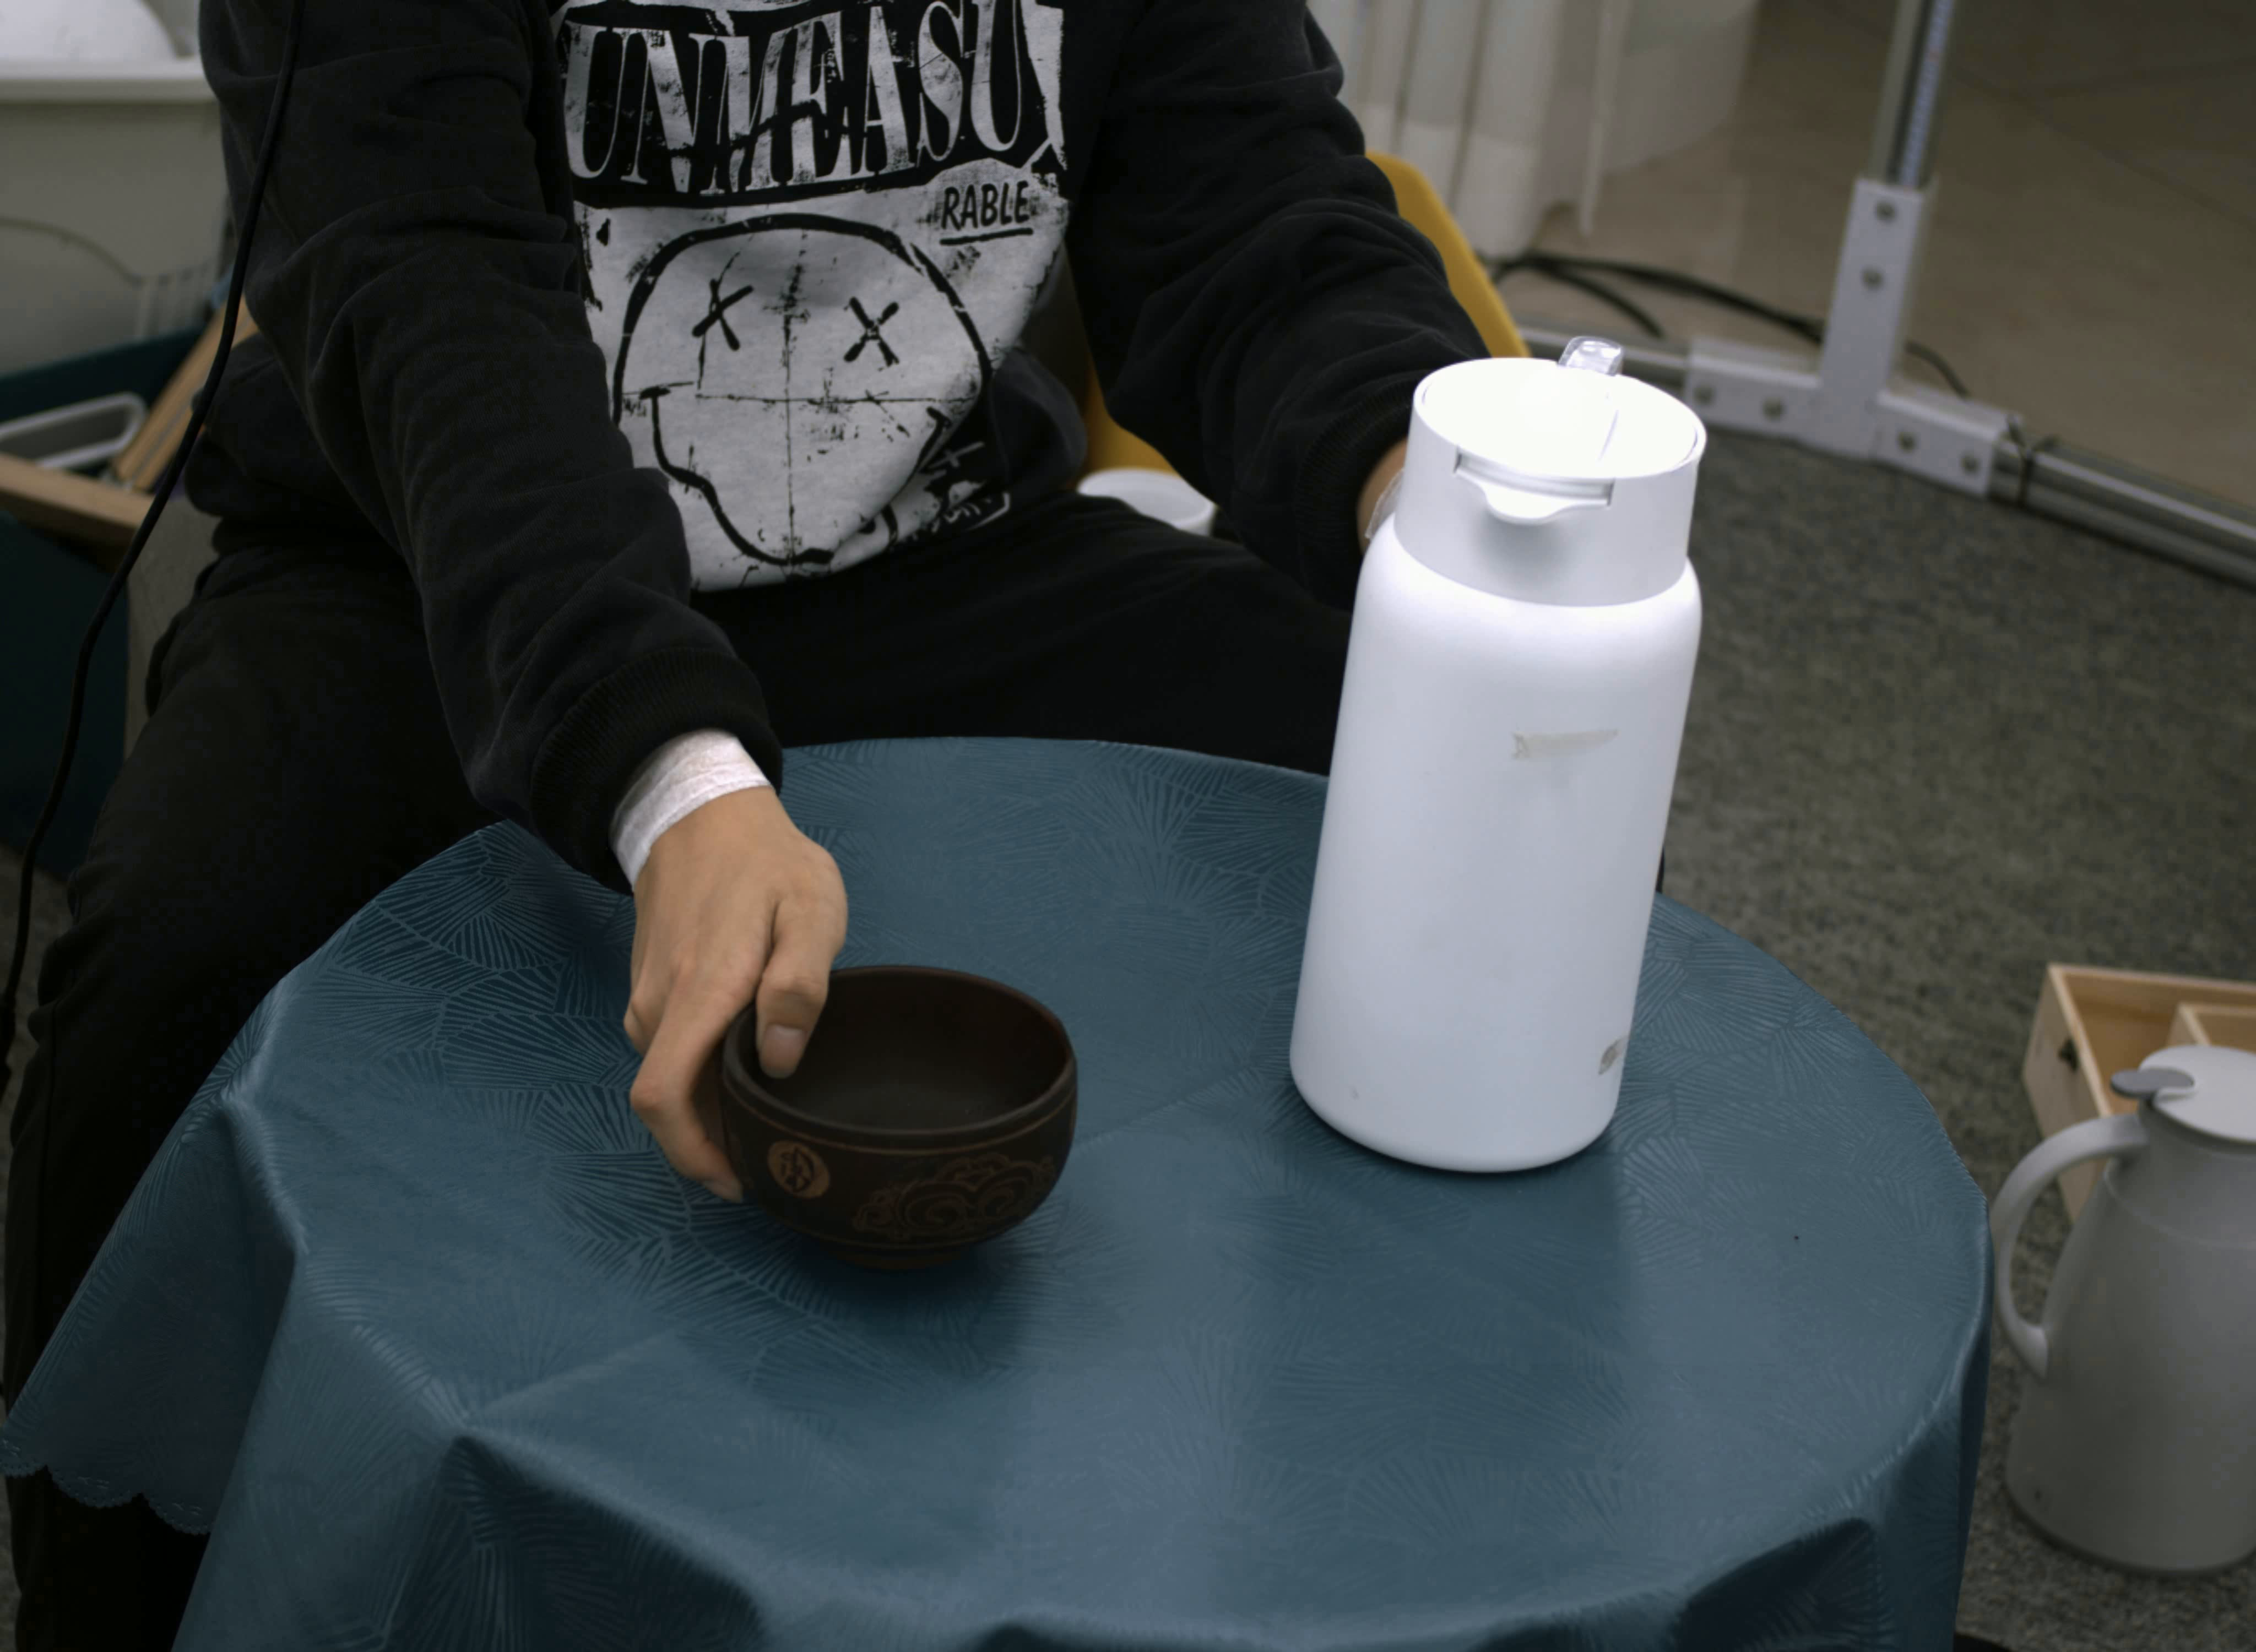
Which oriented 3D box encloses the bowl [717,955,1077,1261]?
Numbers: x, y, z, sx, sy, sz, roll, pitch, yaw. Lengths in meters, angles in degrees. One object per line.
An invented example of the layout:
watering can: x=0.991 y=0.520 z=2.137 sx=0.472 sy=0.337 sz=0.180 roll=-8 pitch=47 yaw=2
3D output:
bowl: x=-0.076 y=0.099 z=1.750 sx=0.117 sy=0.069 sz=0.119 roll=2 pitch=26 yaw=-1

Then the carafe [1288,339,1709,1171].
carafe: x=0.131 y=-0.029 z=1.841 sx=0.124 sy=0.268 sz=0.173 roll=10 pitch=27 yaw=11
